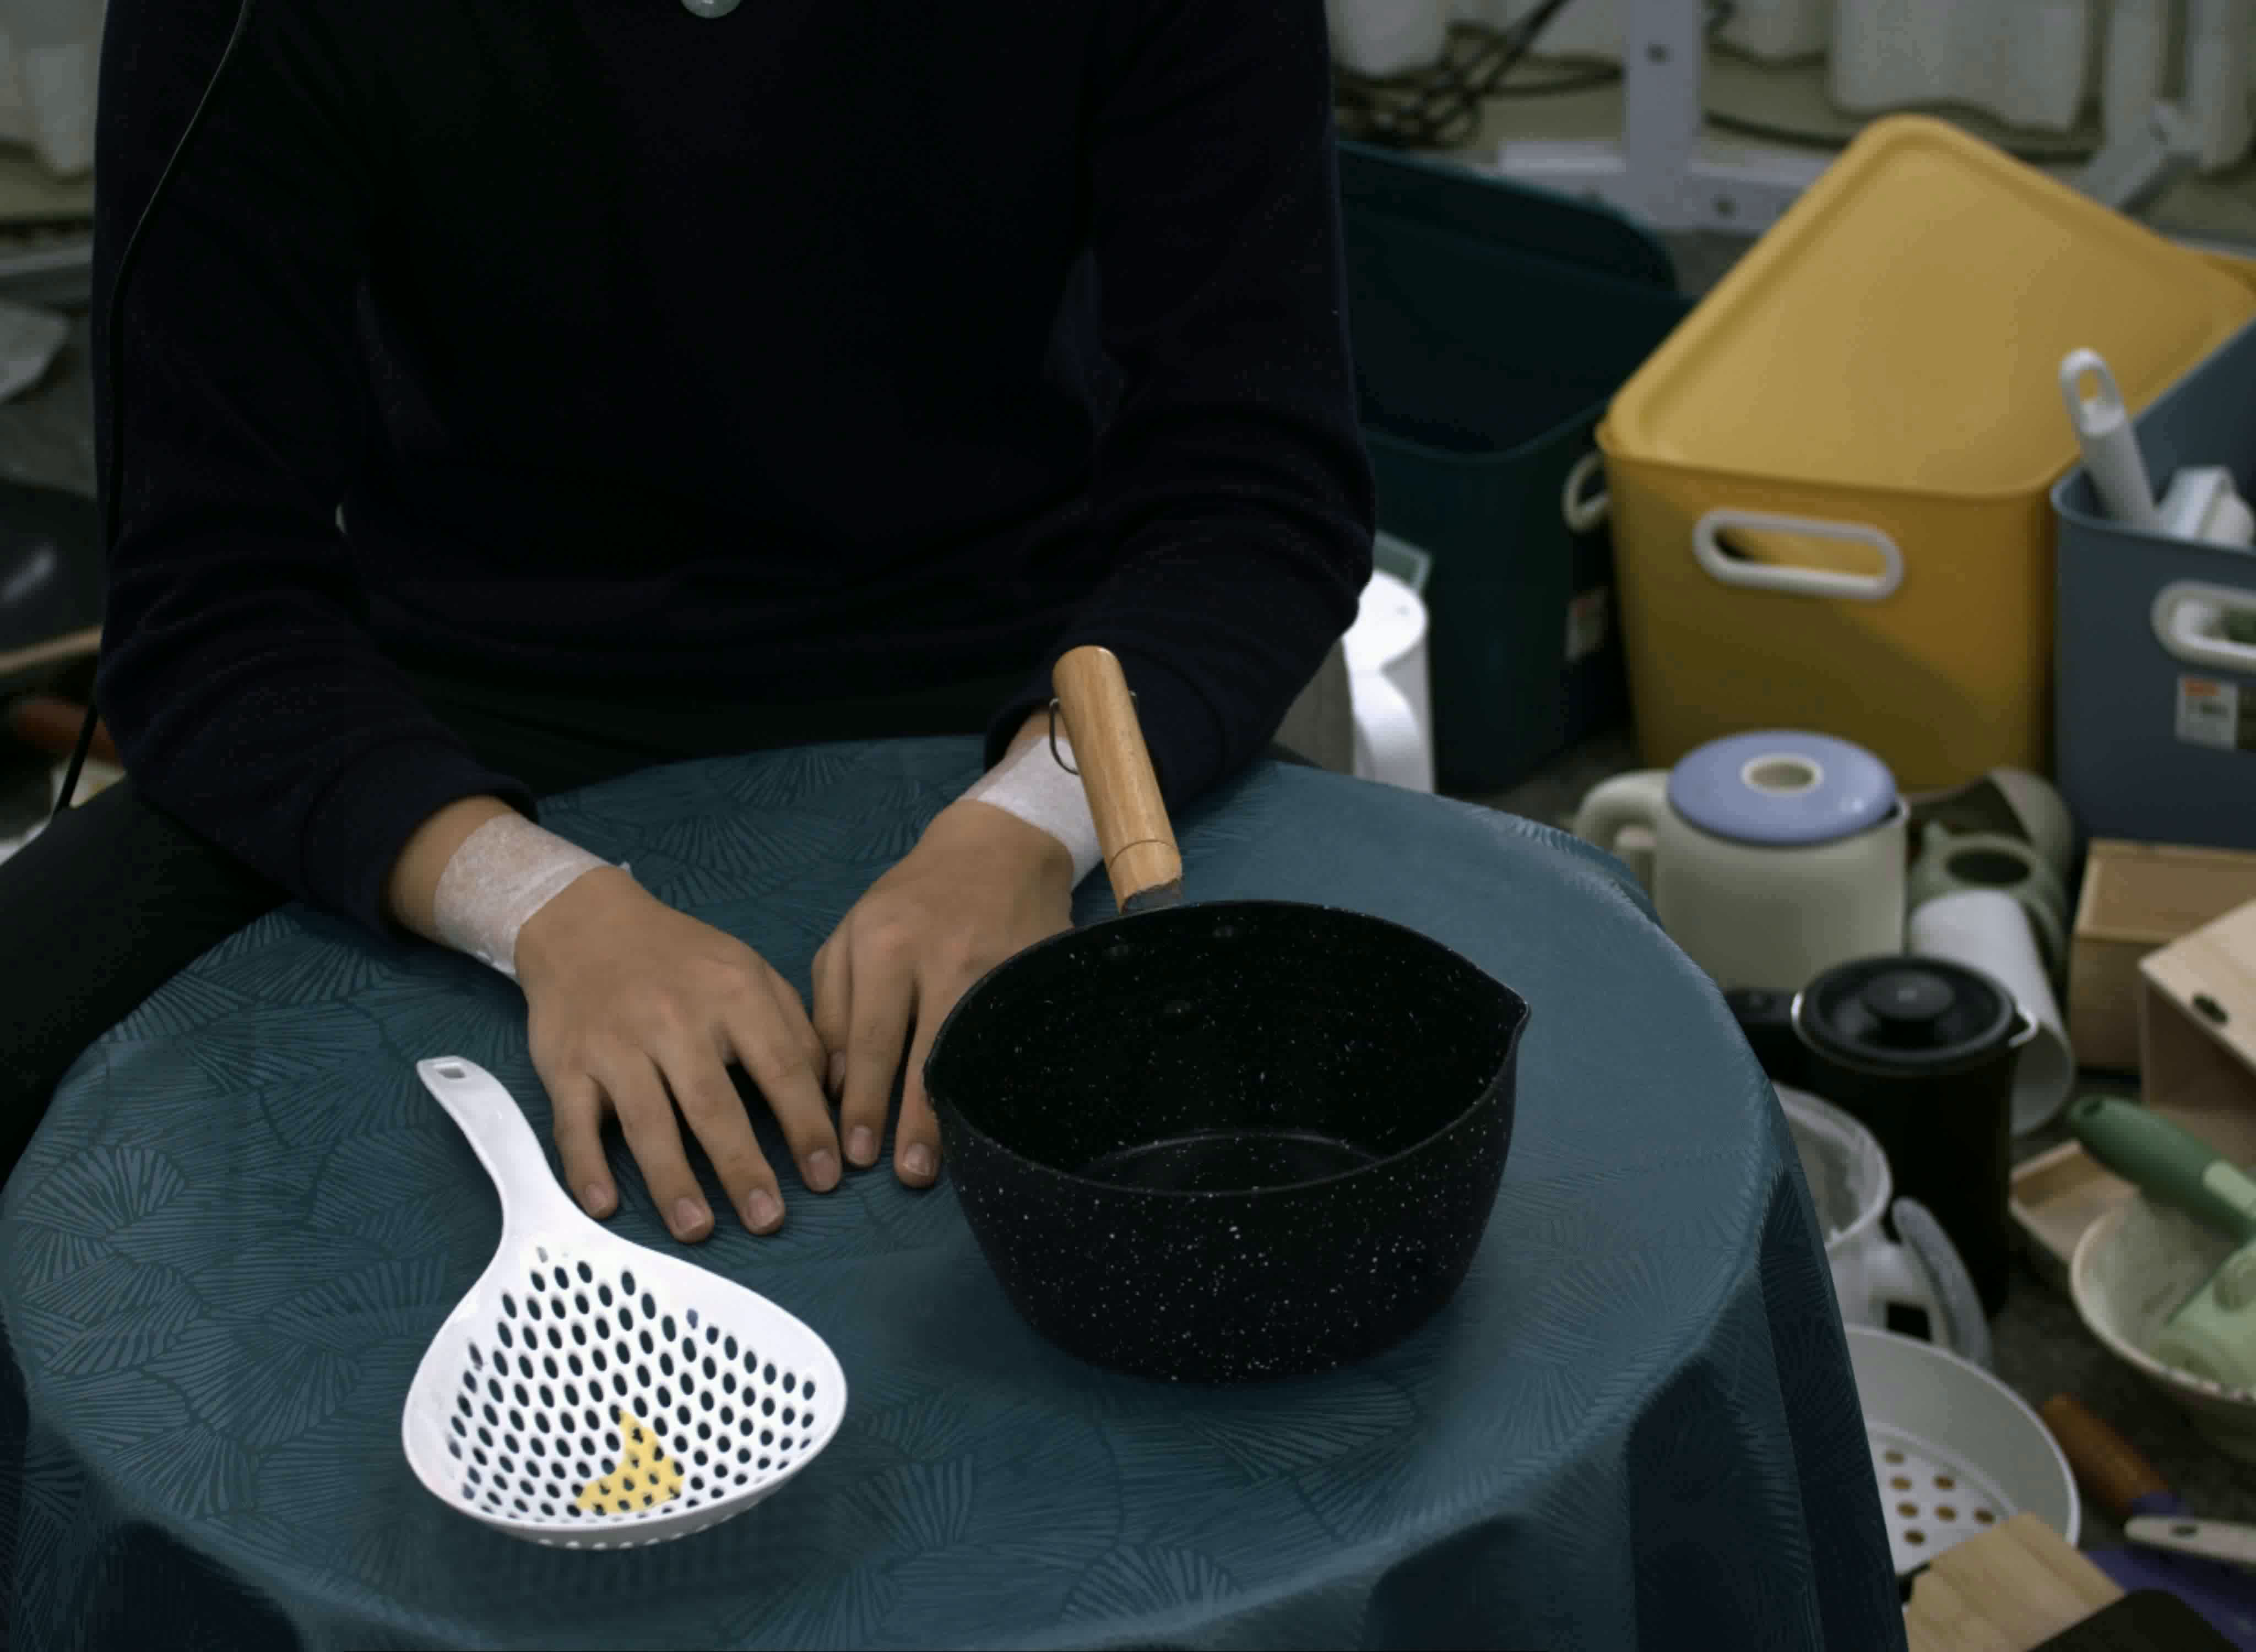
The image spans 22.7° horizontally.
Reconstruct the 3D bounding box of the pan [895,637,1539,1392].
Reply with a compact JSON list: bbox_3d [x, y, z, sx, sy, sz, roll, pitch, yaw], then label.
[{"bbox_3d":[0.016,0.058,1.866,0.207,0.107,0.347,-9,29,-9],"label":"pan"}]

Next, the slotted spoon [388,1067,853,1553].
[{"bbox_3d":[-0.187,0.142,1.796,0.137,0.050,0.351,-13,30,-15],"label":"slotted spoon"}]
